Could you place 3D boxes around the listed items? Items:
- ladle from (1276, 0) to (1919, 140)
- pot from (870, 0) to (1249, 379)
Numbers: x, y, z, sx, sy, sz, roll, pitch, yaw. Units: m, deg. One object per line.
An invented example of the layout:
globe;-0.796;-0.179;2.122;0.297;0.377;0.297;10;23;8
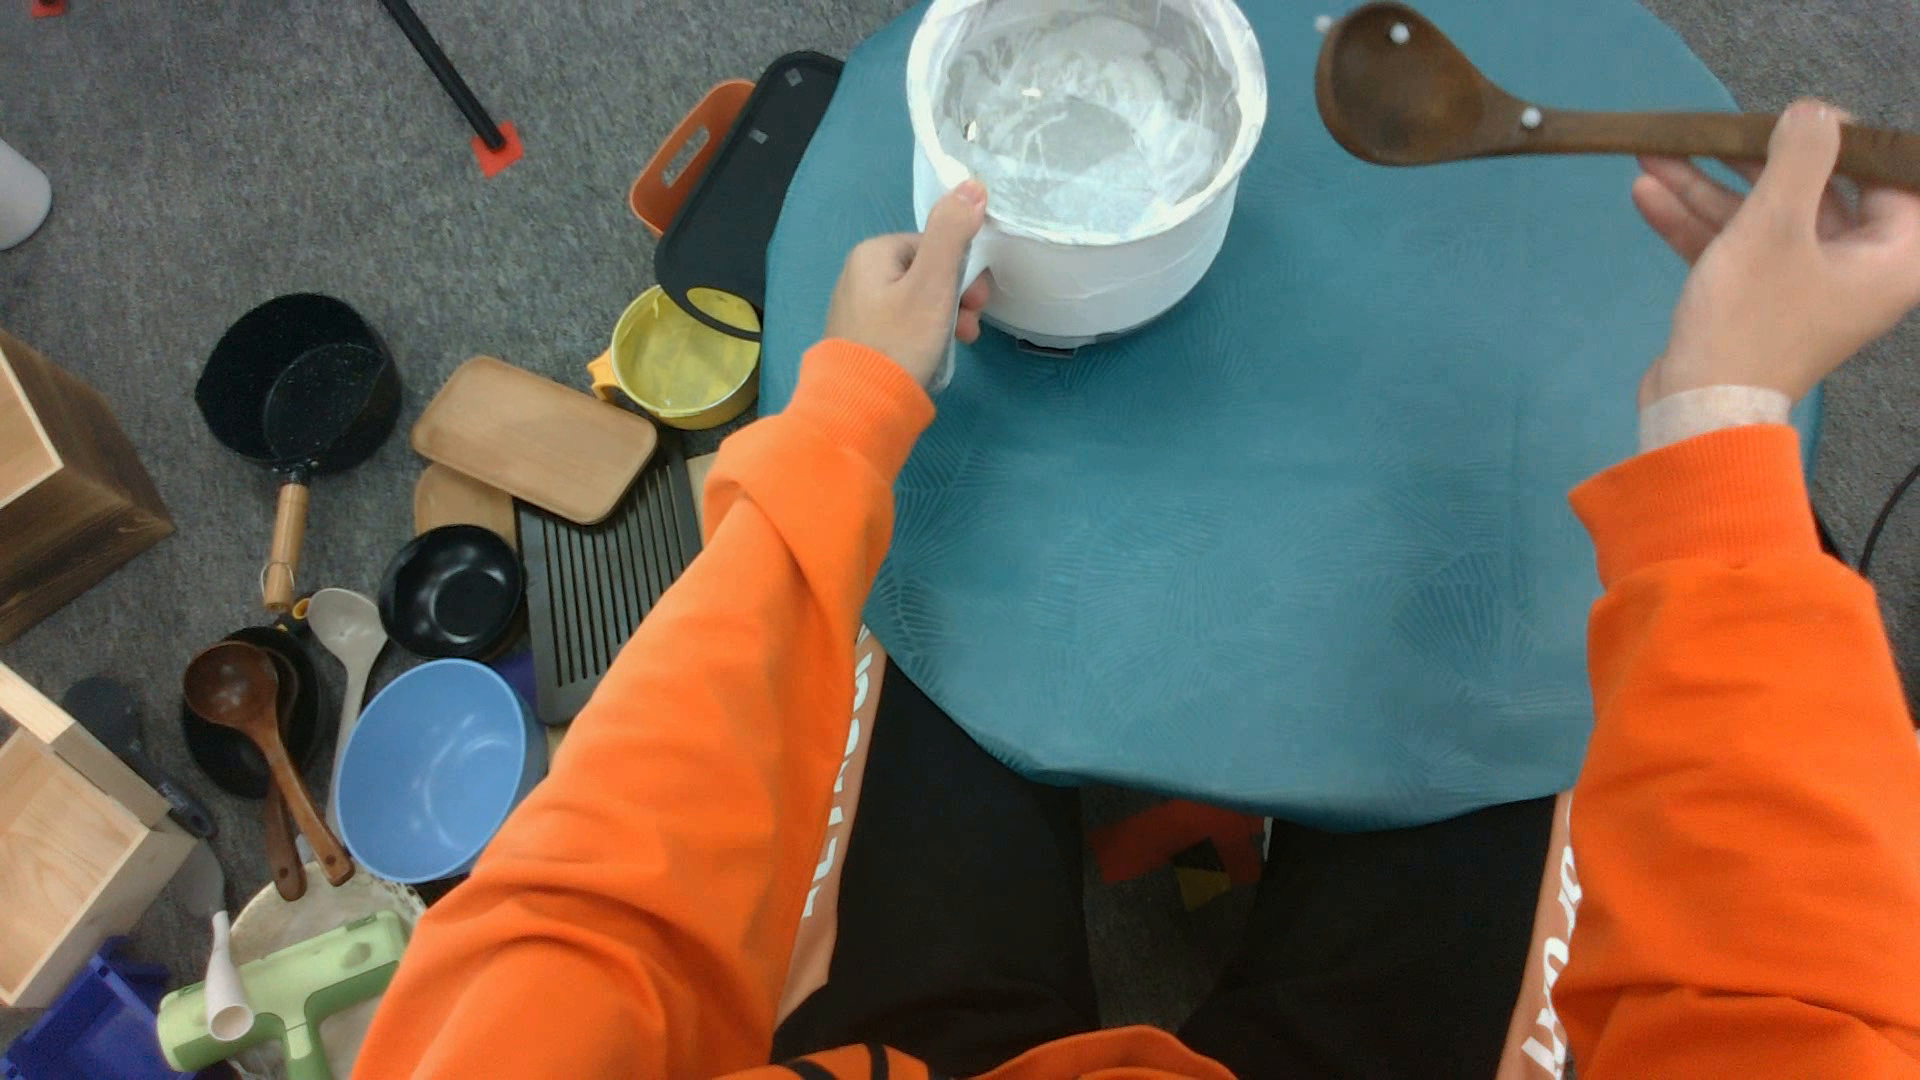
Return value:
ladle;0.258;-0.185;0.531;0.274;0.071;0.076;16;83;31
pot;0.036;-0.191;0.727;0.179;0.136;0.234;36;76;10
